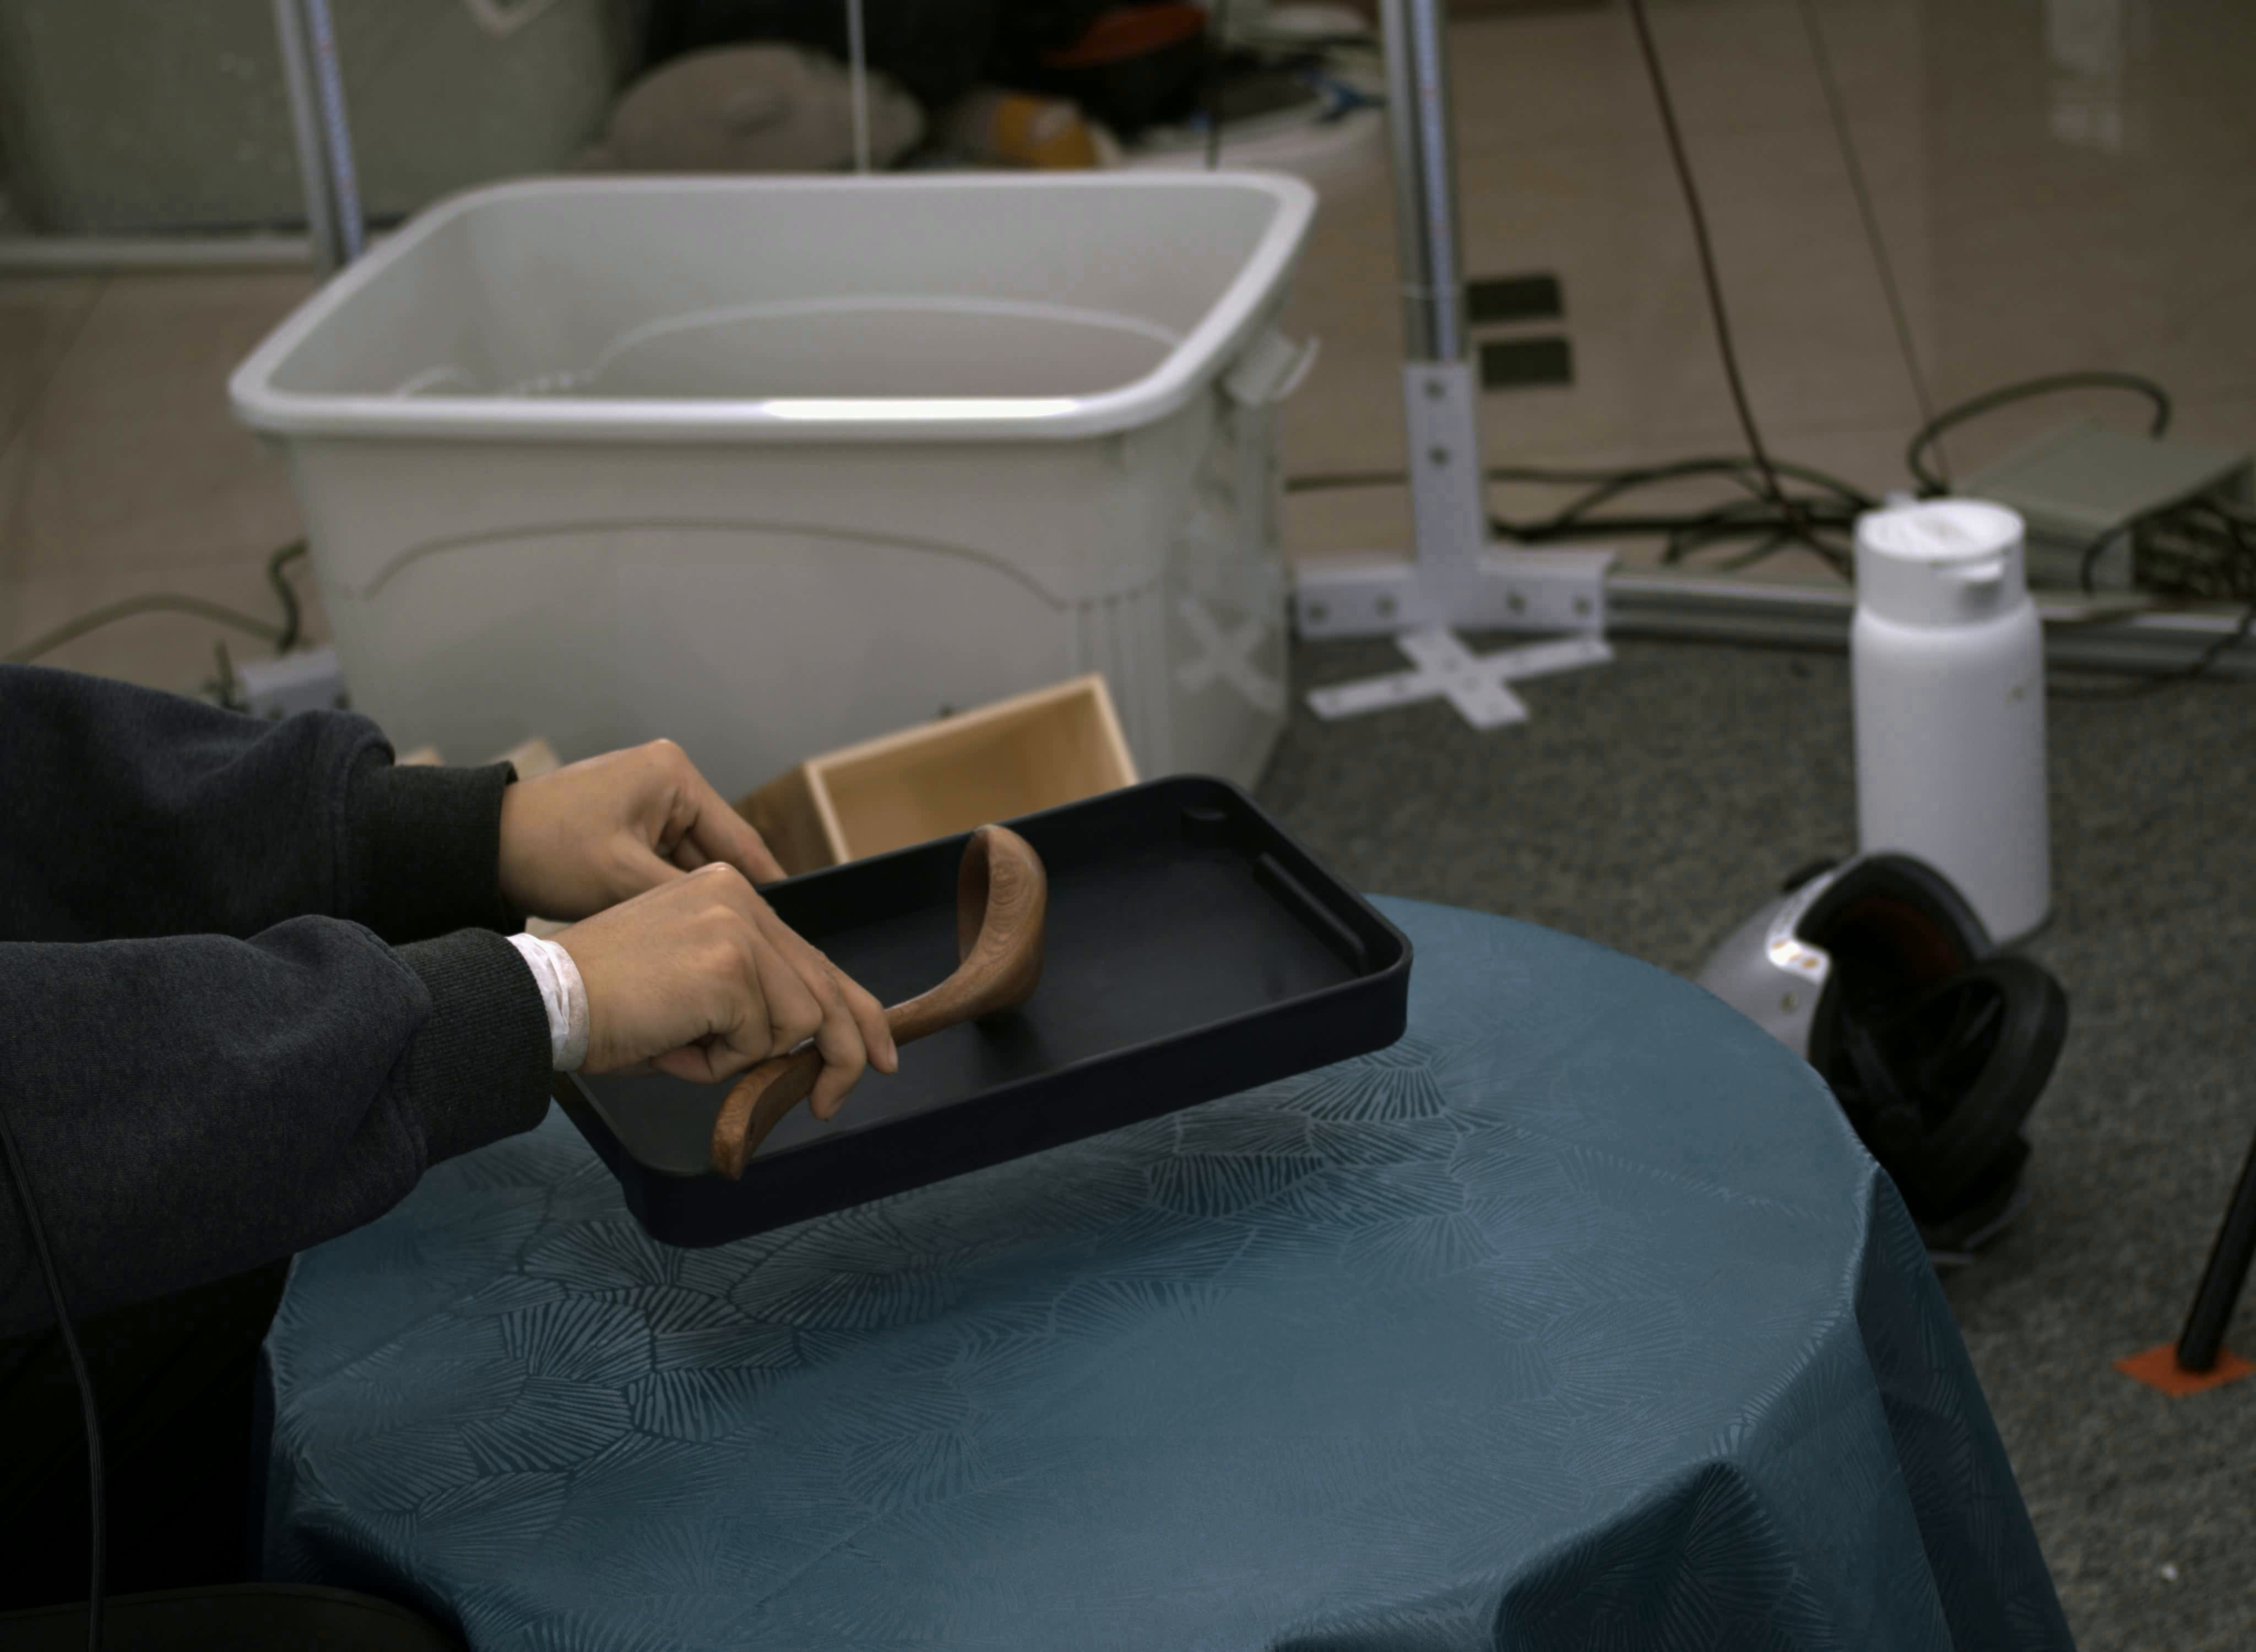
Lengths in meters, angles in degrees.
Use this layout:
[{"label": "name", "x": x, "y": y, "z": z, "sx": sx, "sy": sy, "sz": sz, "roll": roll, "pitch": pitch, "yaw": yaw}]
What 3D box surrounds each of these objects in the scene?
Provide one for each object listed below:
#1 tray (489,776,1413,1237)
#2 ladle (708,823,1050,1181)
[{"label": "tray", "x": -0.067, "y": 0.064, "z": 2.146, "sx": 0.316, "sy": 0.037, "sz": 0.182, "roll": -14, "pitch": 32, "yaw": -22}, {"label": "ladle", "x": -0.099, "y": 0.068, "z": 2.070, "sx": 0.065, "sy": 0.078, "sz": 0.257, "roll": 17, "pitch": 27, "yaw": 26}]
